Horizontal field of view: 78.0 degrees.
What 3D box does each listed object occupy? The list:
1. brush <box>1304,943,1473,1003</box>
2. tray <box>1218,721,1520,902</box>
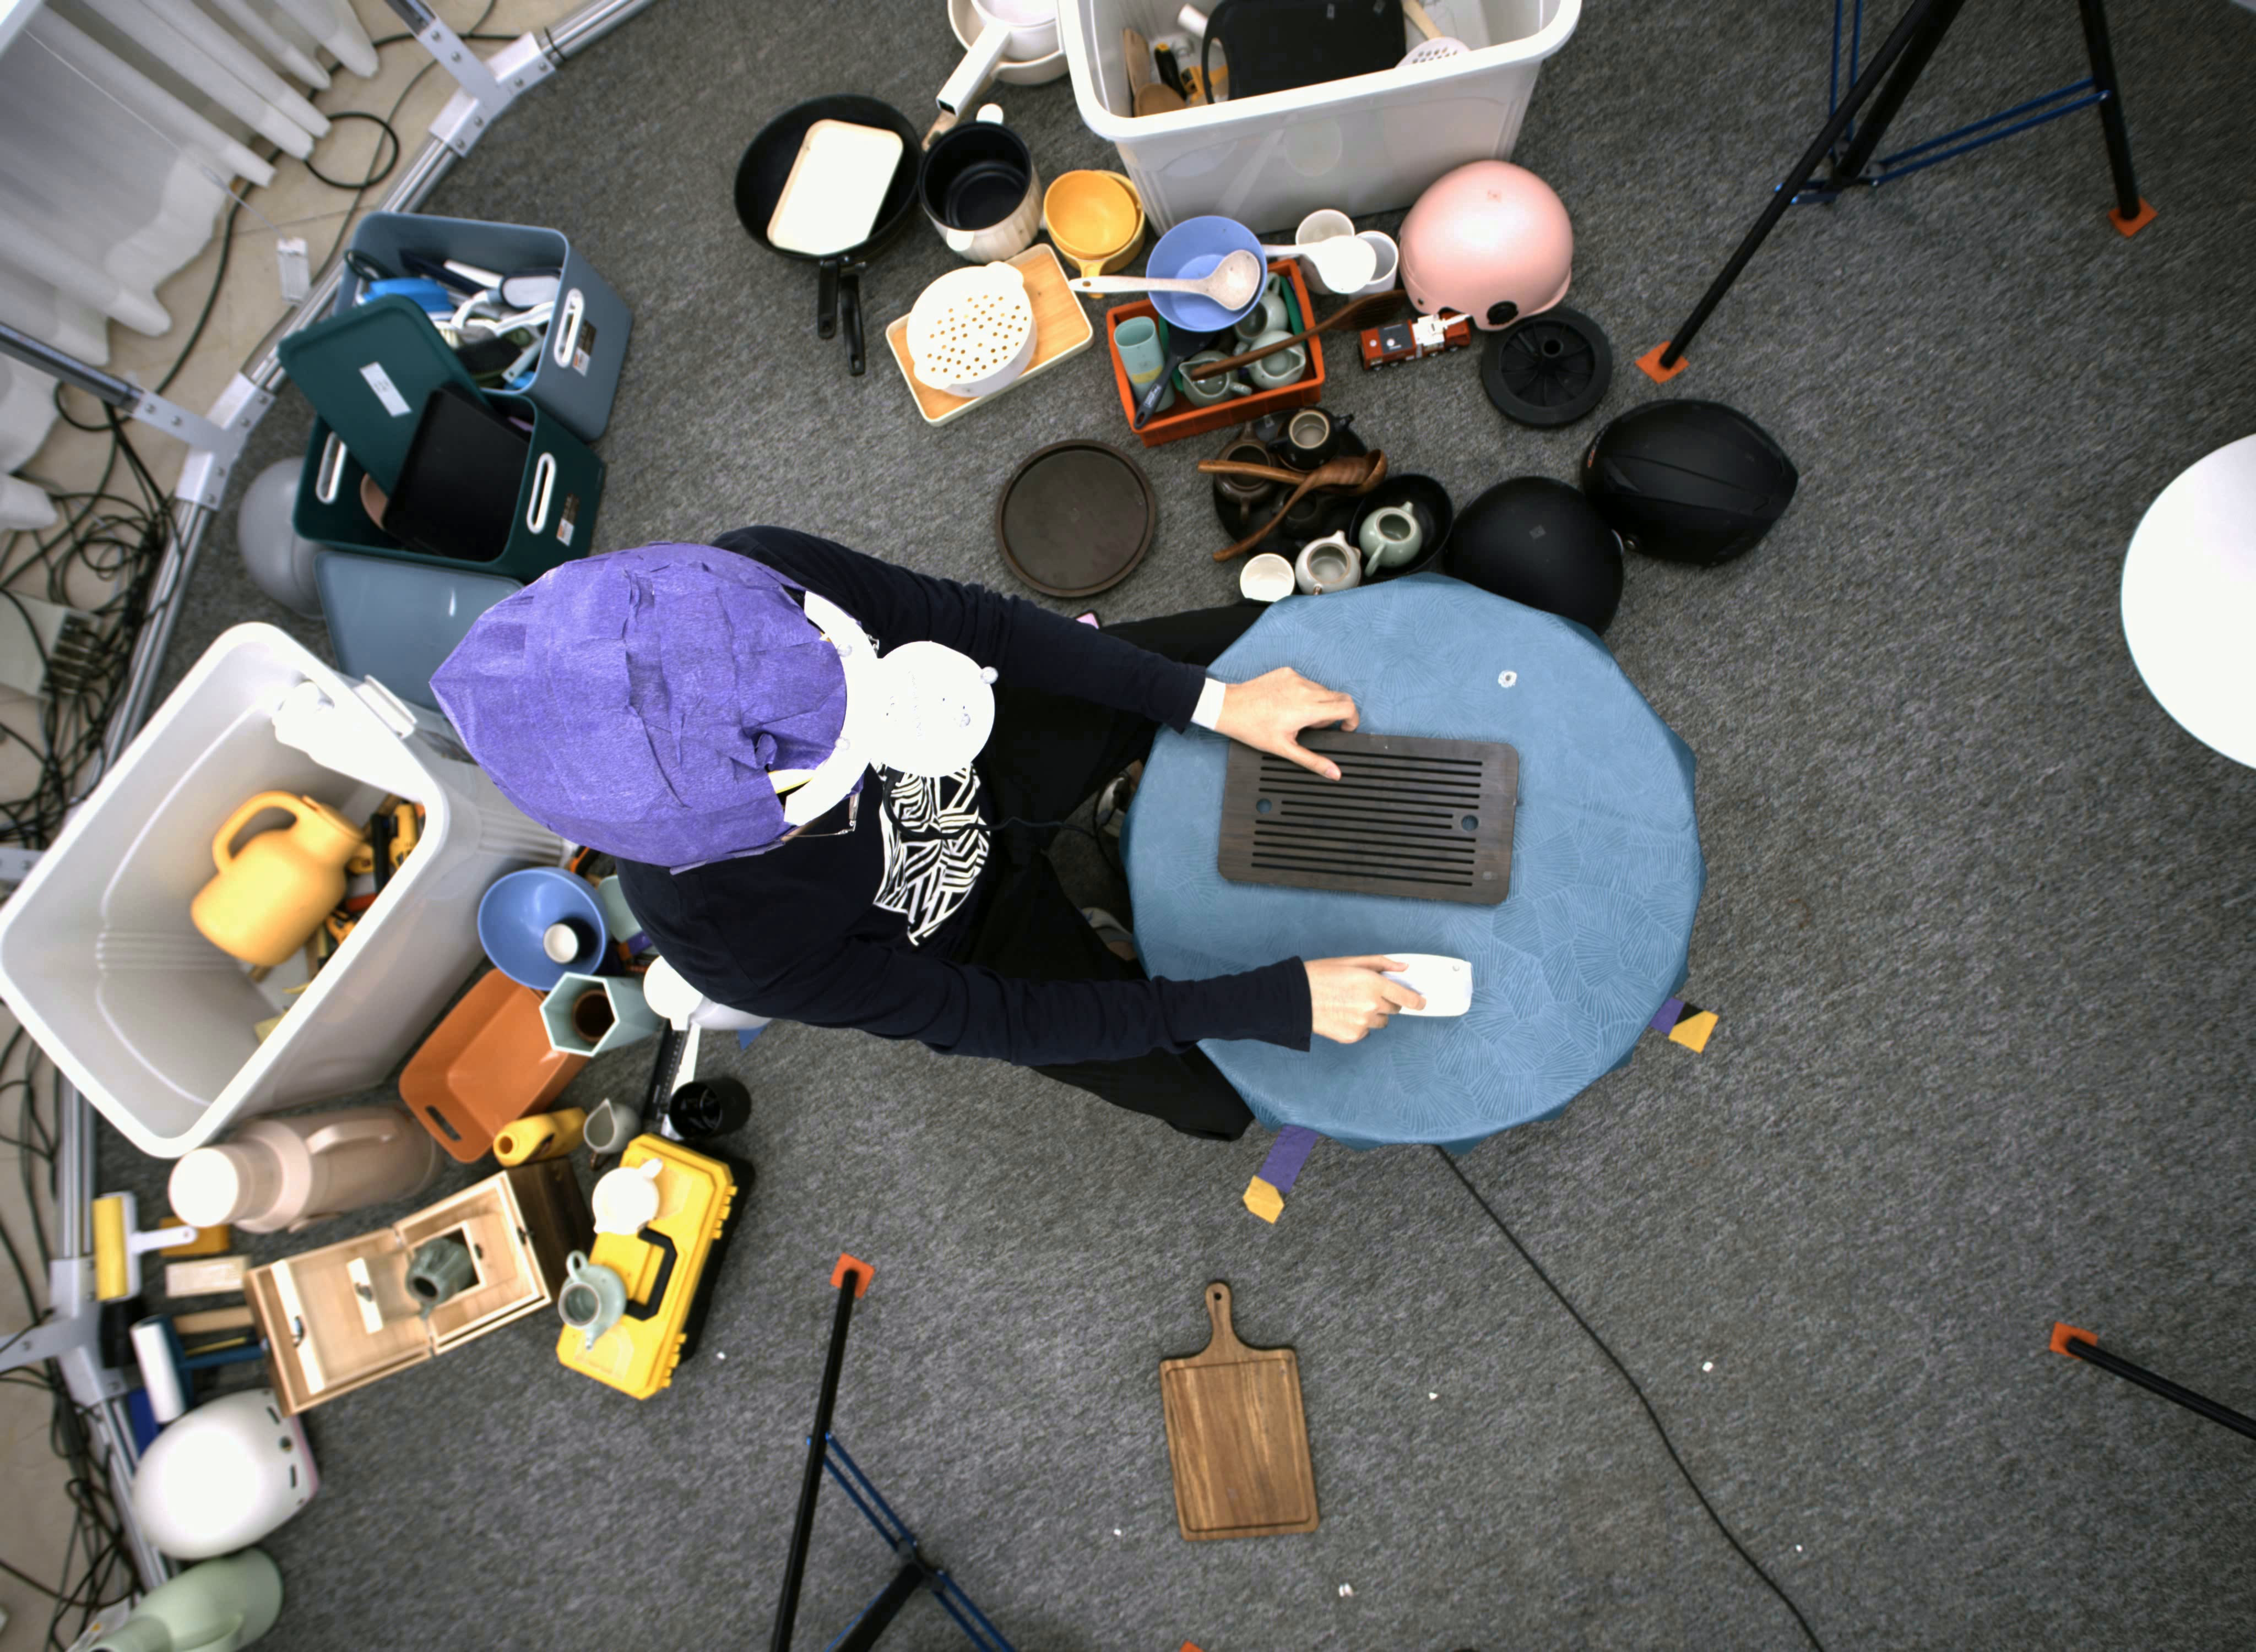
[{"bbox_3d":[0.265,0.149,1.412,0.176,0.094,0.061,0,87,11],"label":"brush"},{"bbox_3d":[0.253,-0.018,1.458,0.307,0.018,0.169,5,88,11],"label":"tray"}]
